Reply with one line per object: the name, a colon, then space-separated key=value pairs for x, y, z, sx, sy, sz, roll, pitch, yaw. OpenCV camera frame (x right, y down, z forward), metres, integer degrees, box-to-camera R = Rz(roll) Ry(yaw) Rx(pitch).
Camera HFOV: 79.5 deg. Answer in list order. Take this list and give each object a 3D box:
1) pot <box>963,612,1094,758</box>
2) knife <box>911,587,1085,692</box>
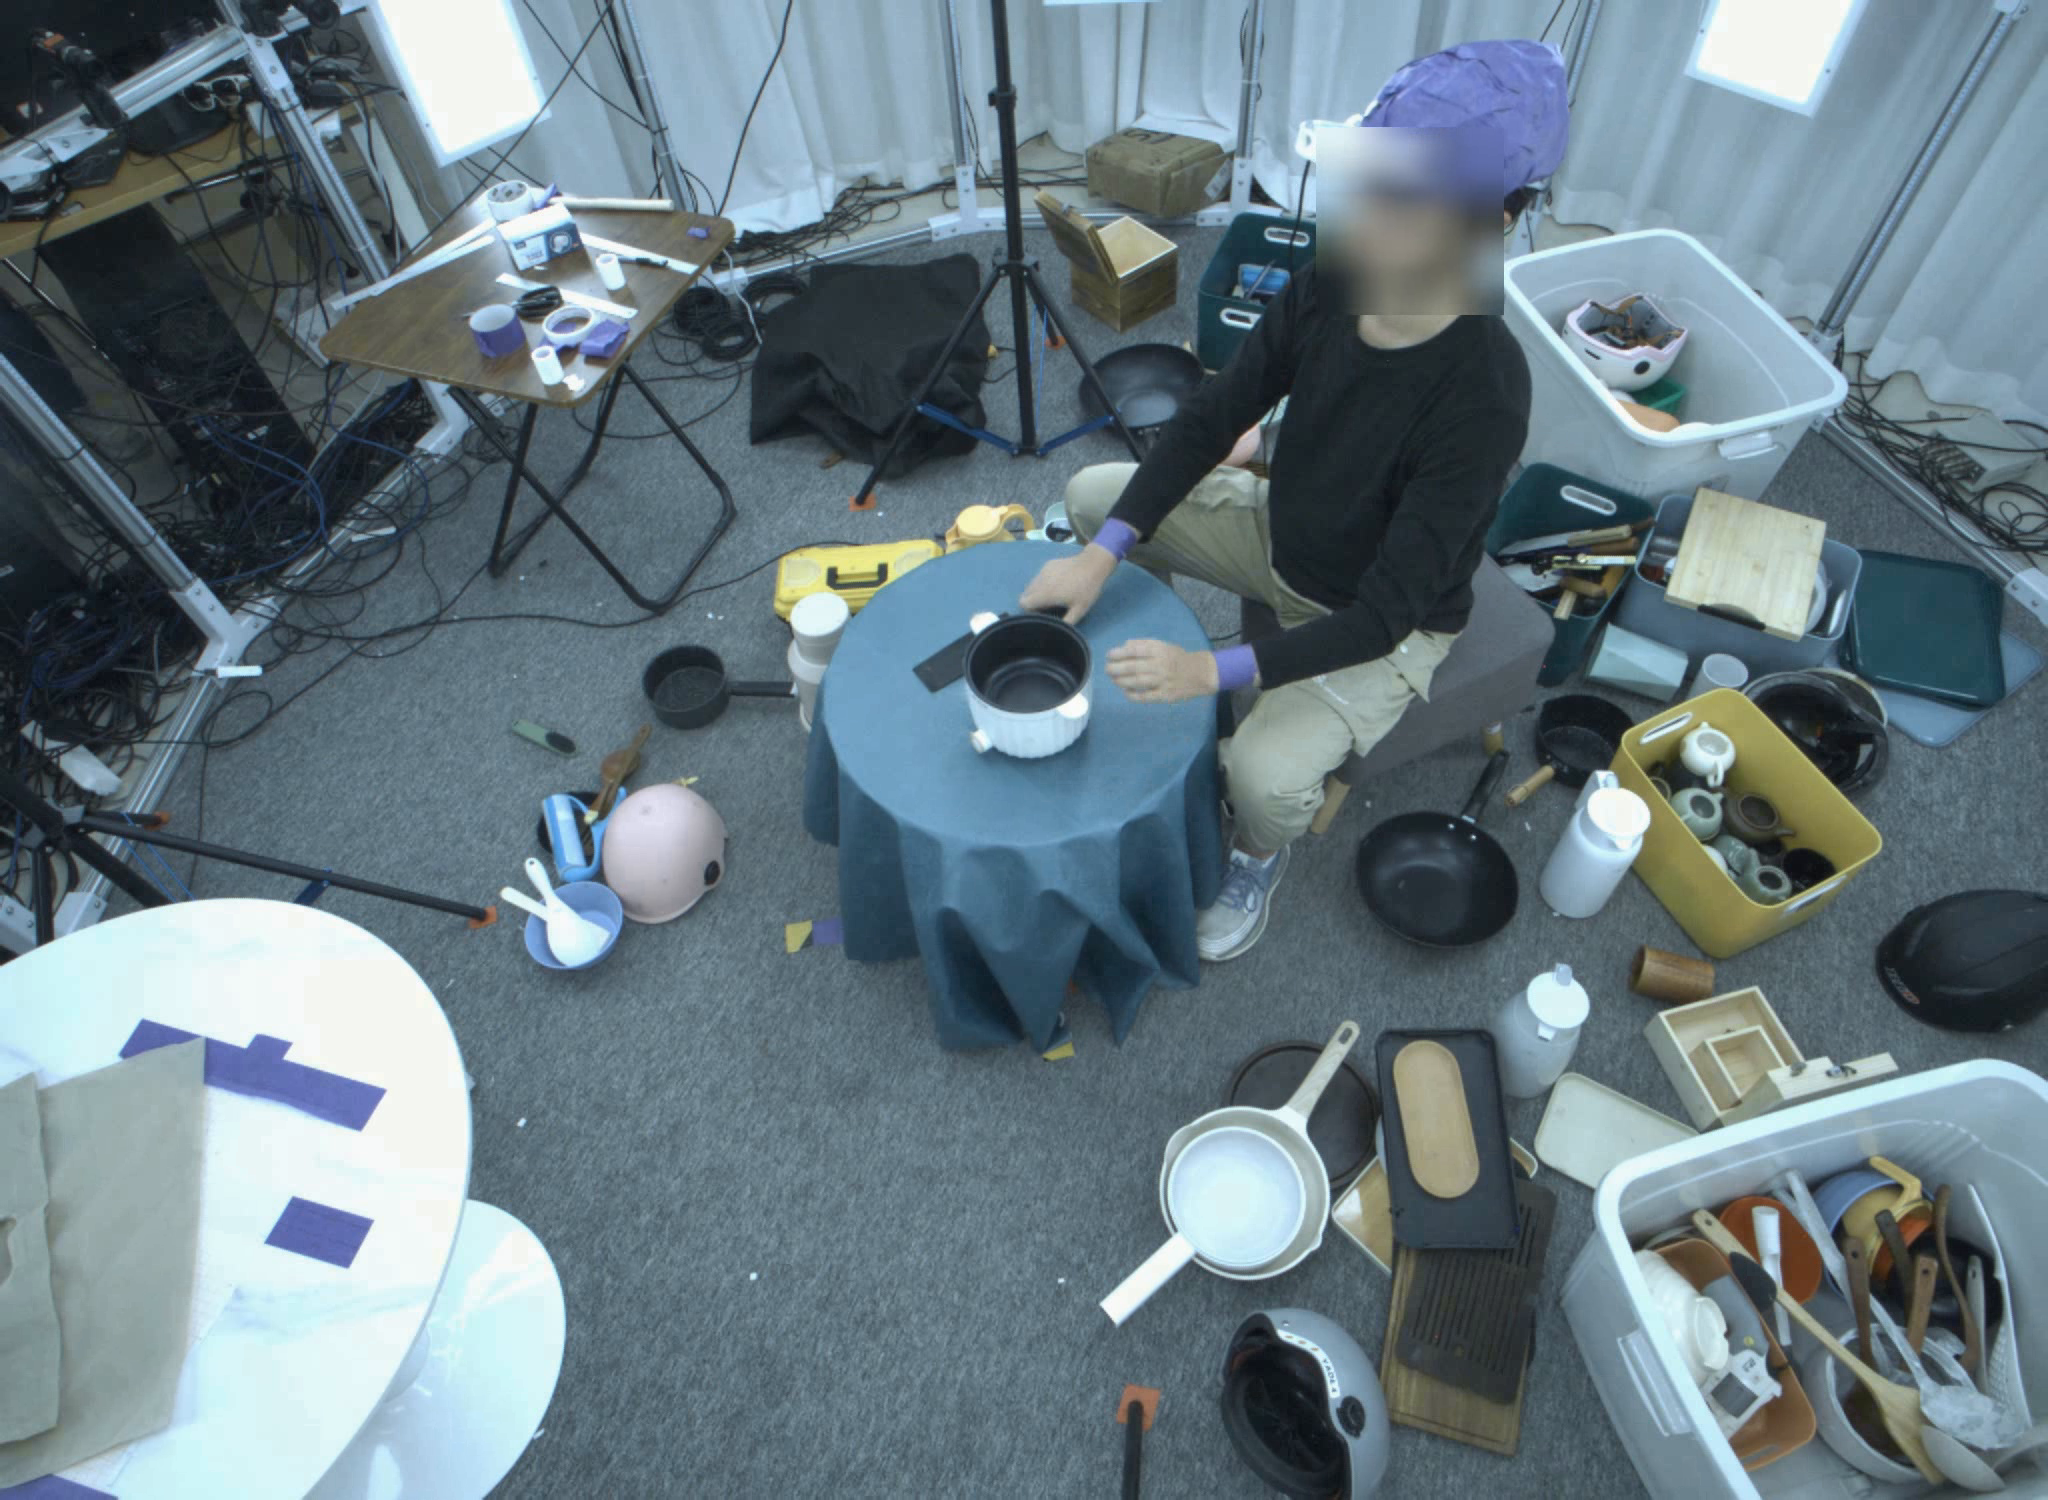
pot: x=0.005 y=-0.081 z=1.756 sx=0.192 sy=0.144 sz=0.236 roll=-33 pitch=58 yaw=-23
knife: x=-0.034 y=-0.179 z=1.904 sx=0.304 sy=0.021 sz=0.079 roll=-28 pitch=58 yaw=-14
